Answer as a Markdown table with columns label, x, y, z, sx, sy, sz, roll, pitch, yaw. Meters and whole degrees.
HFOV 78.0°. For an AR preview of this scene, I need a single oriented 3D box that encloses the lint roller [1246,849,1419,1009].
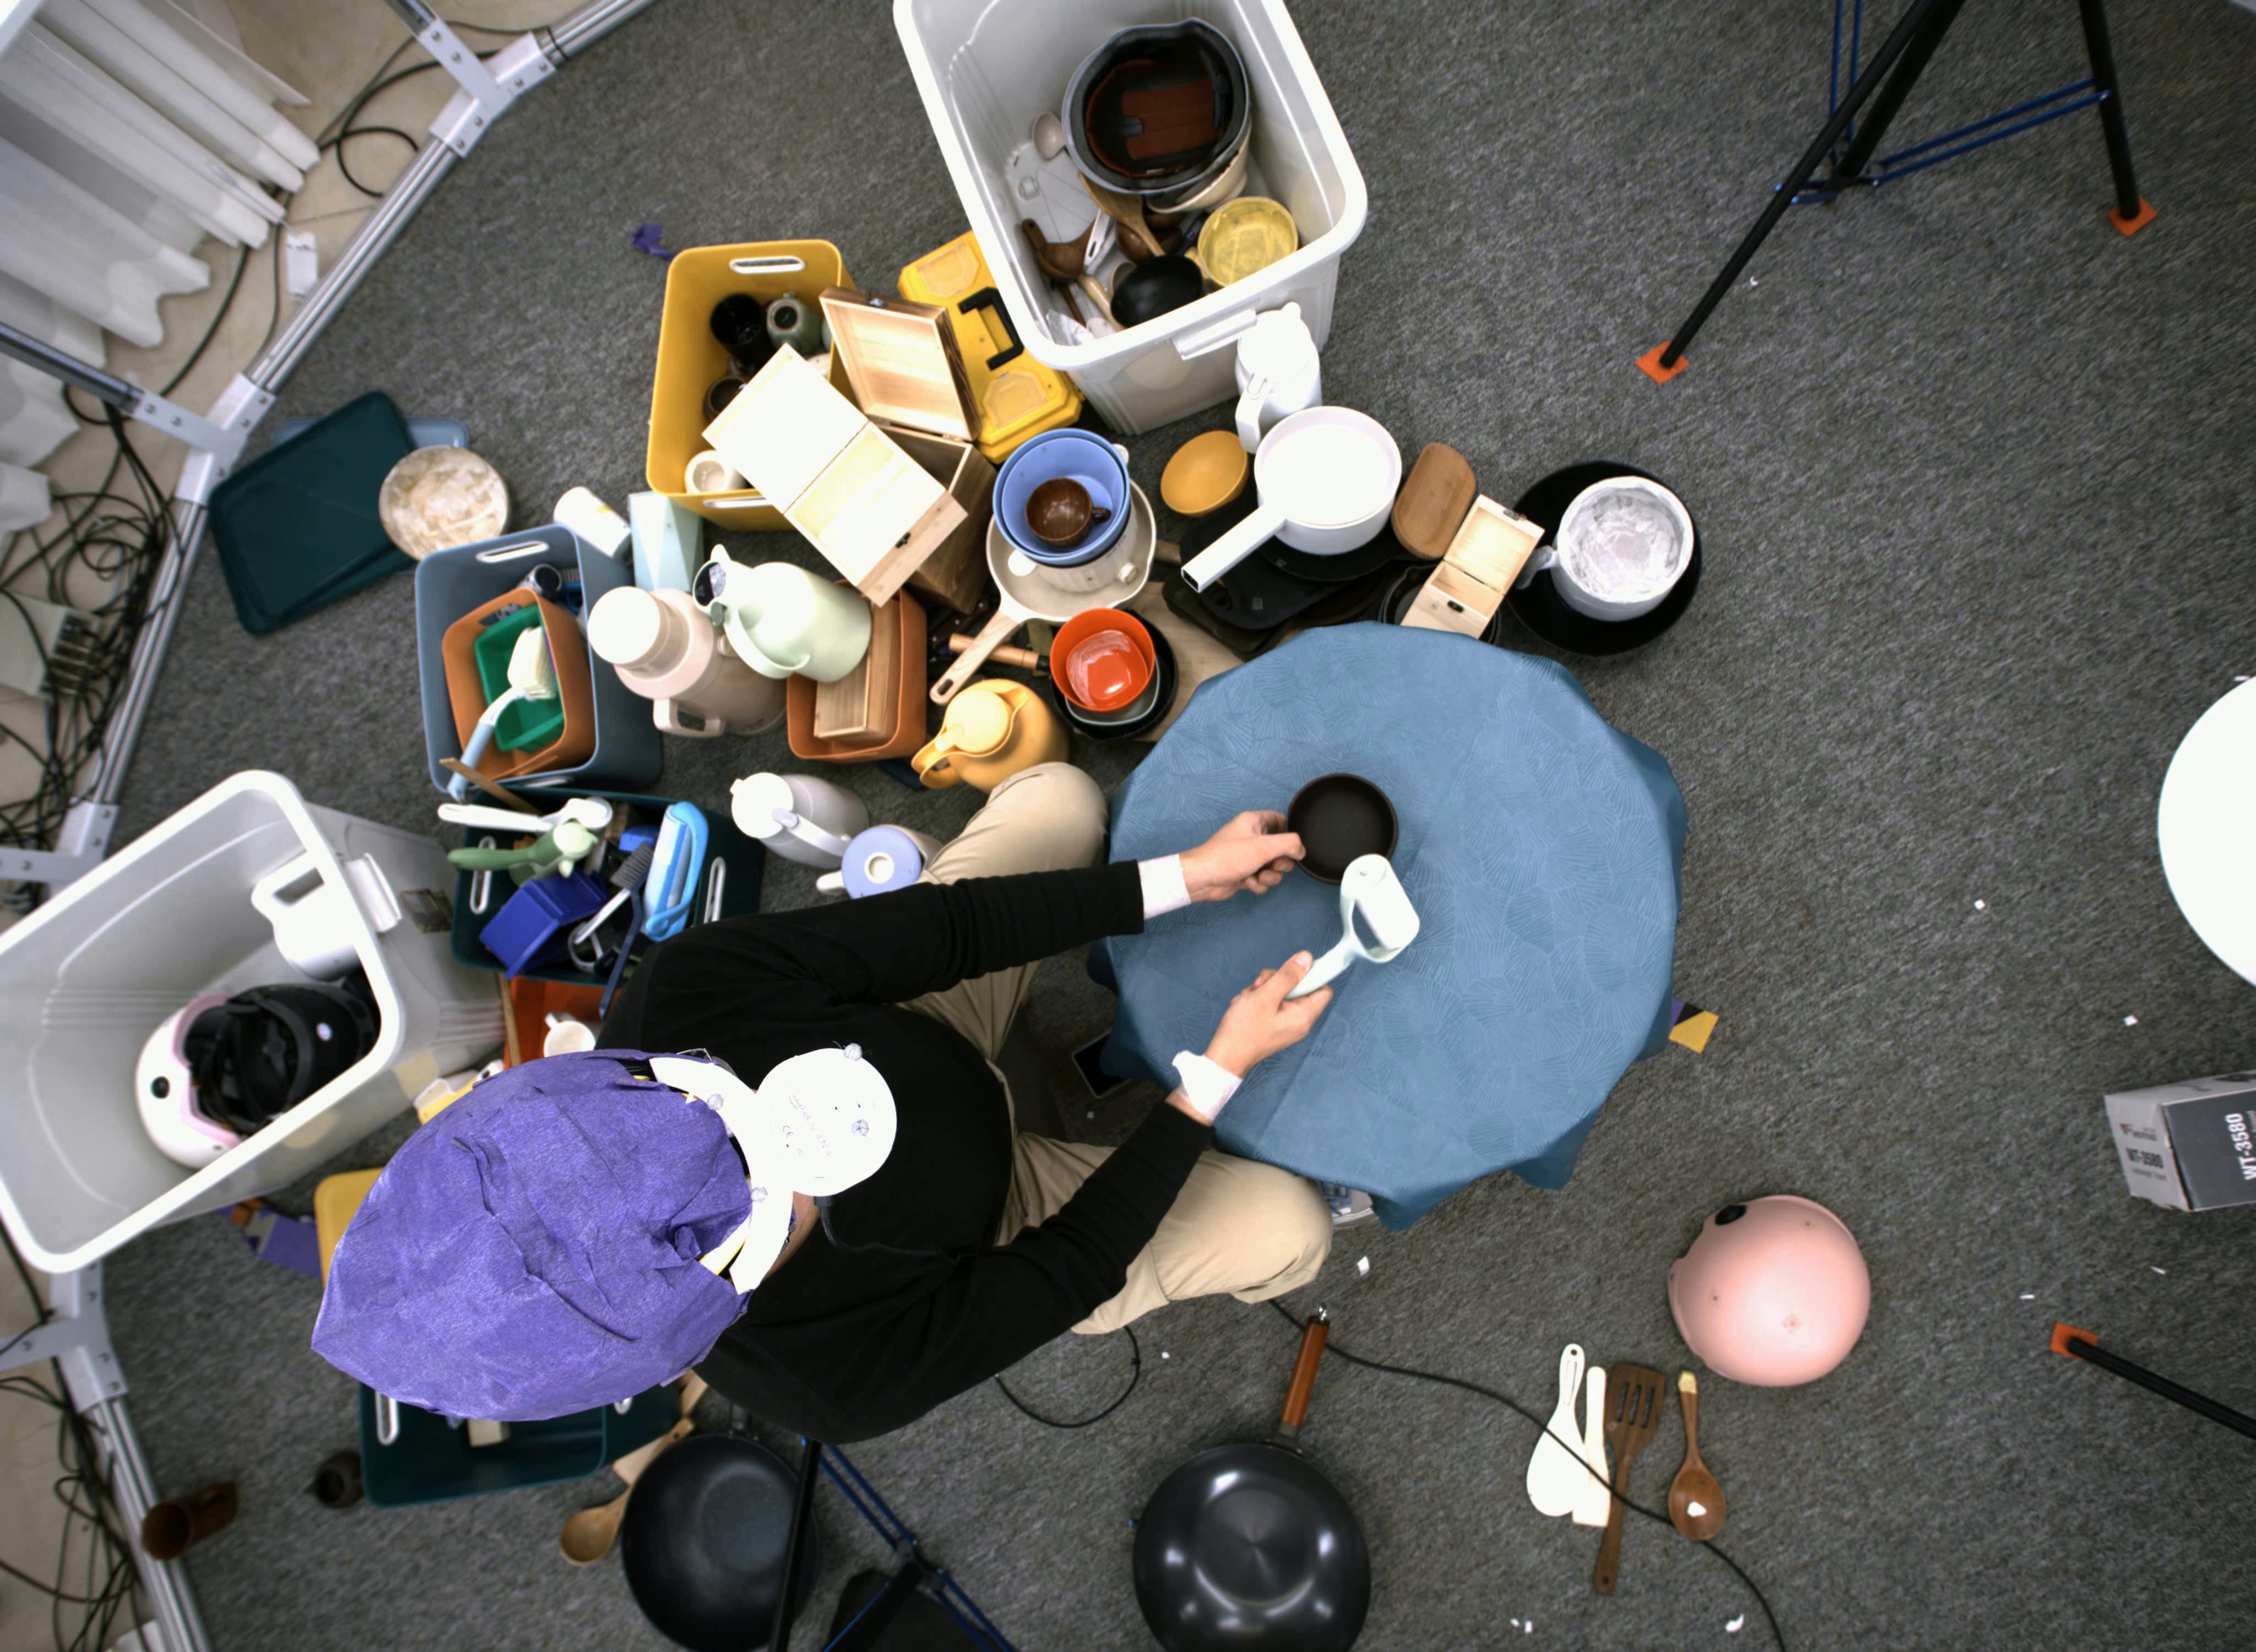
| label | x | y | z | sx | sy | sz | roll | pitch | yaw |
| --- | --- | --- | --- | --- | --- | --- | --- | --- | --- |
| lint roller | 0.199 | 0.117 | 1.378 | 0.197 | 0.118 | 0.048 | -42 | 45 | -3 |

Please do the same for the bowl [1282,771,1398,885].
| label | x | y | z | sx | sy | sz | roll | pitch | yaw |
| --- | --- | --- | --- | --- | --- | --- | --- | --- | --- |
| bowl | 0.221 | 0.003 | 1.435 | 0.118 | 0.069 | 0.118 | 0 | 89 | 13 |
